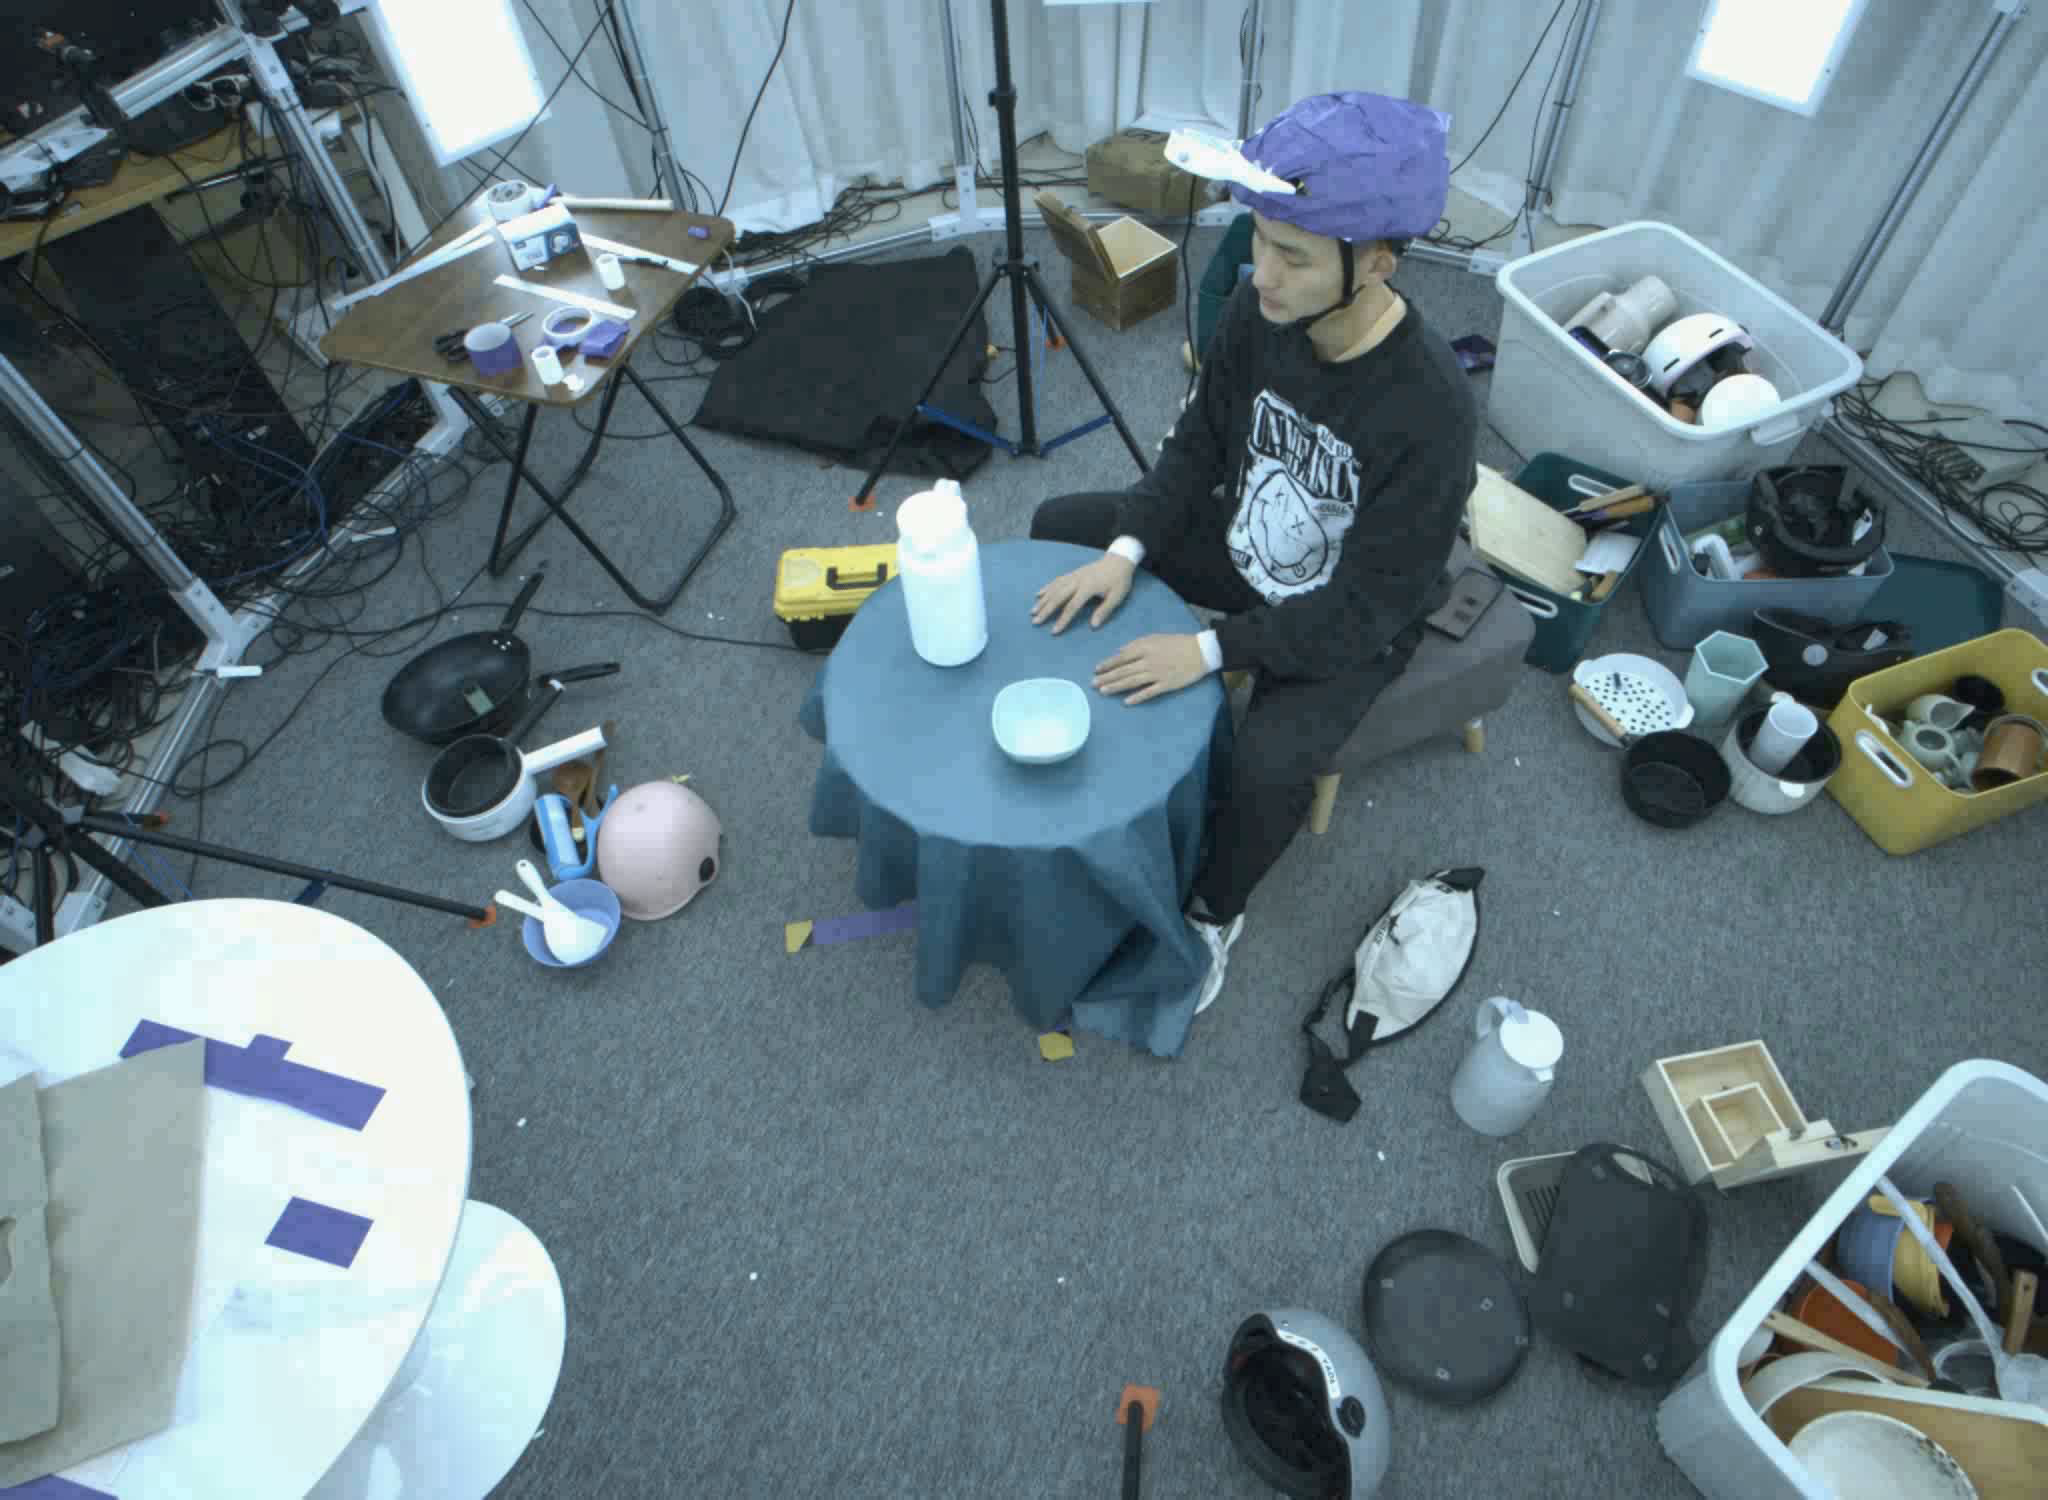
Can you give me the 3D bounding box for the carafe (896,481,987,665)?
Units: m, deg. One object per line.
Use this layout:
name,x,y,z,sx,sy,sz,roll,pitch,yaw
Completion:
carafe,-0.121,-0.264,1.811,0.123,0.272,0.171,4,55,9

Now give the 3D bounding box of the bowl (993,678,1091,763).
bowl,0.027,-0.032,1.772,0.151,0.059,0.150,0,55,2
